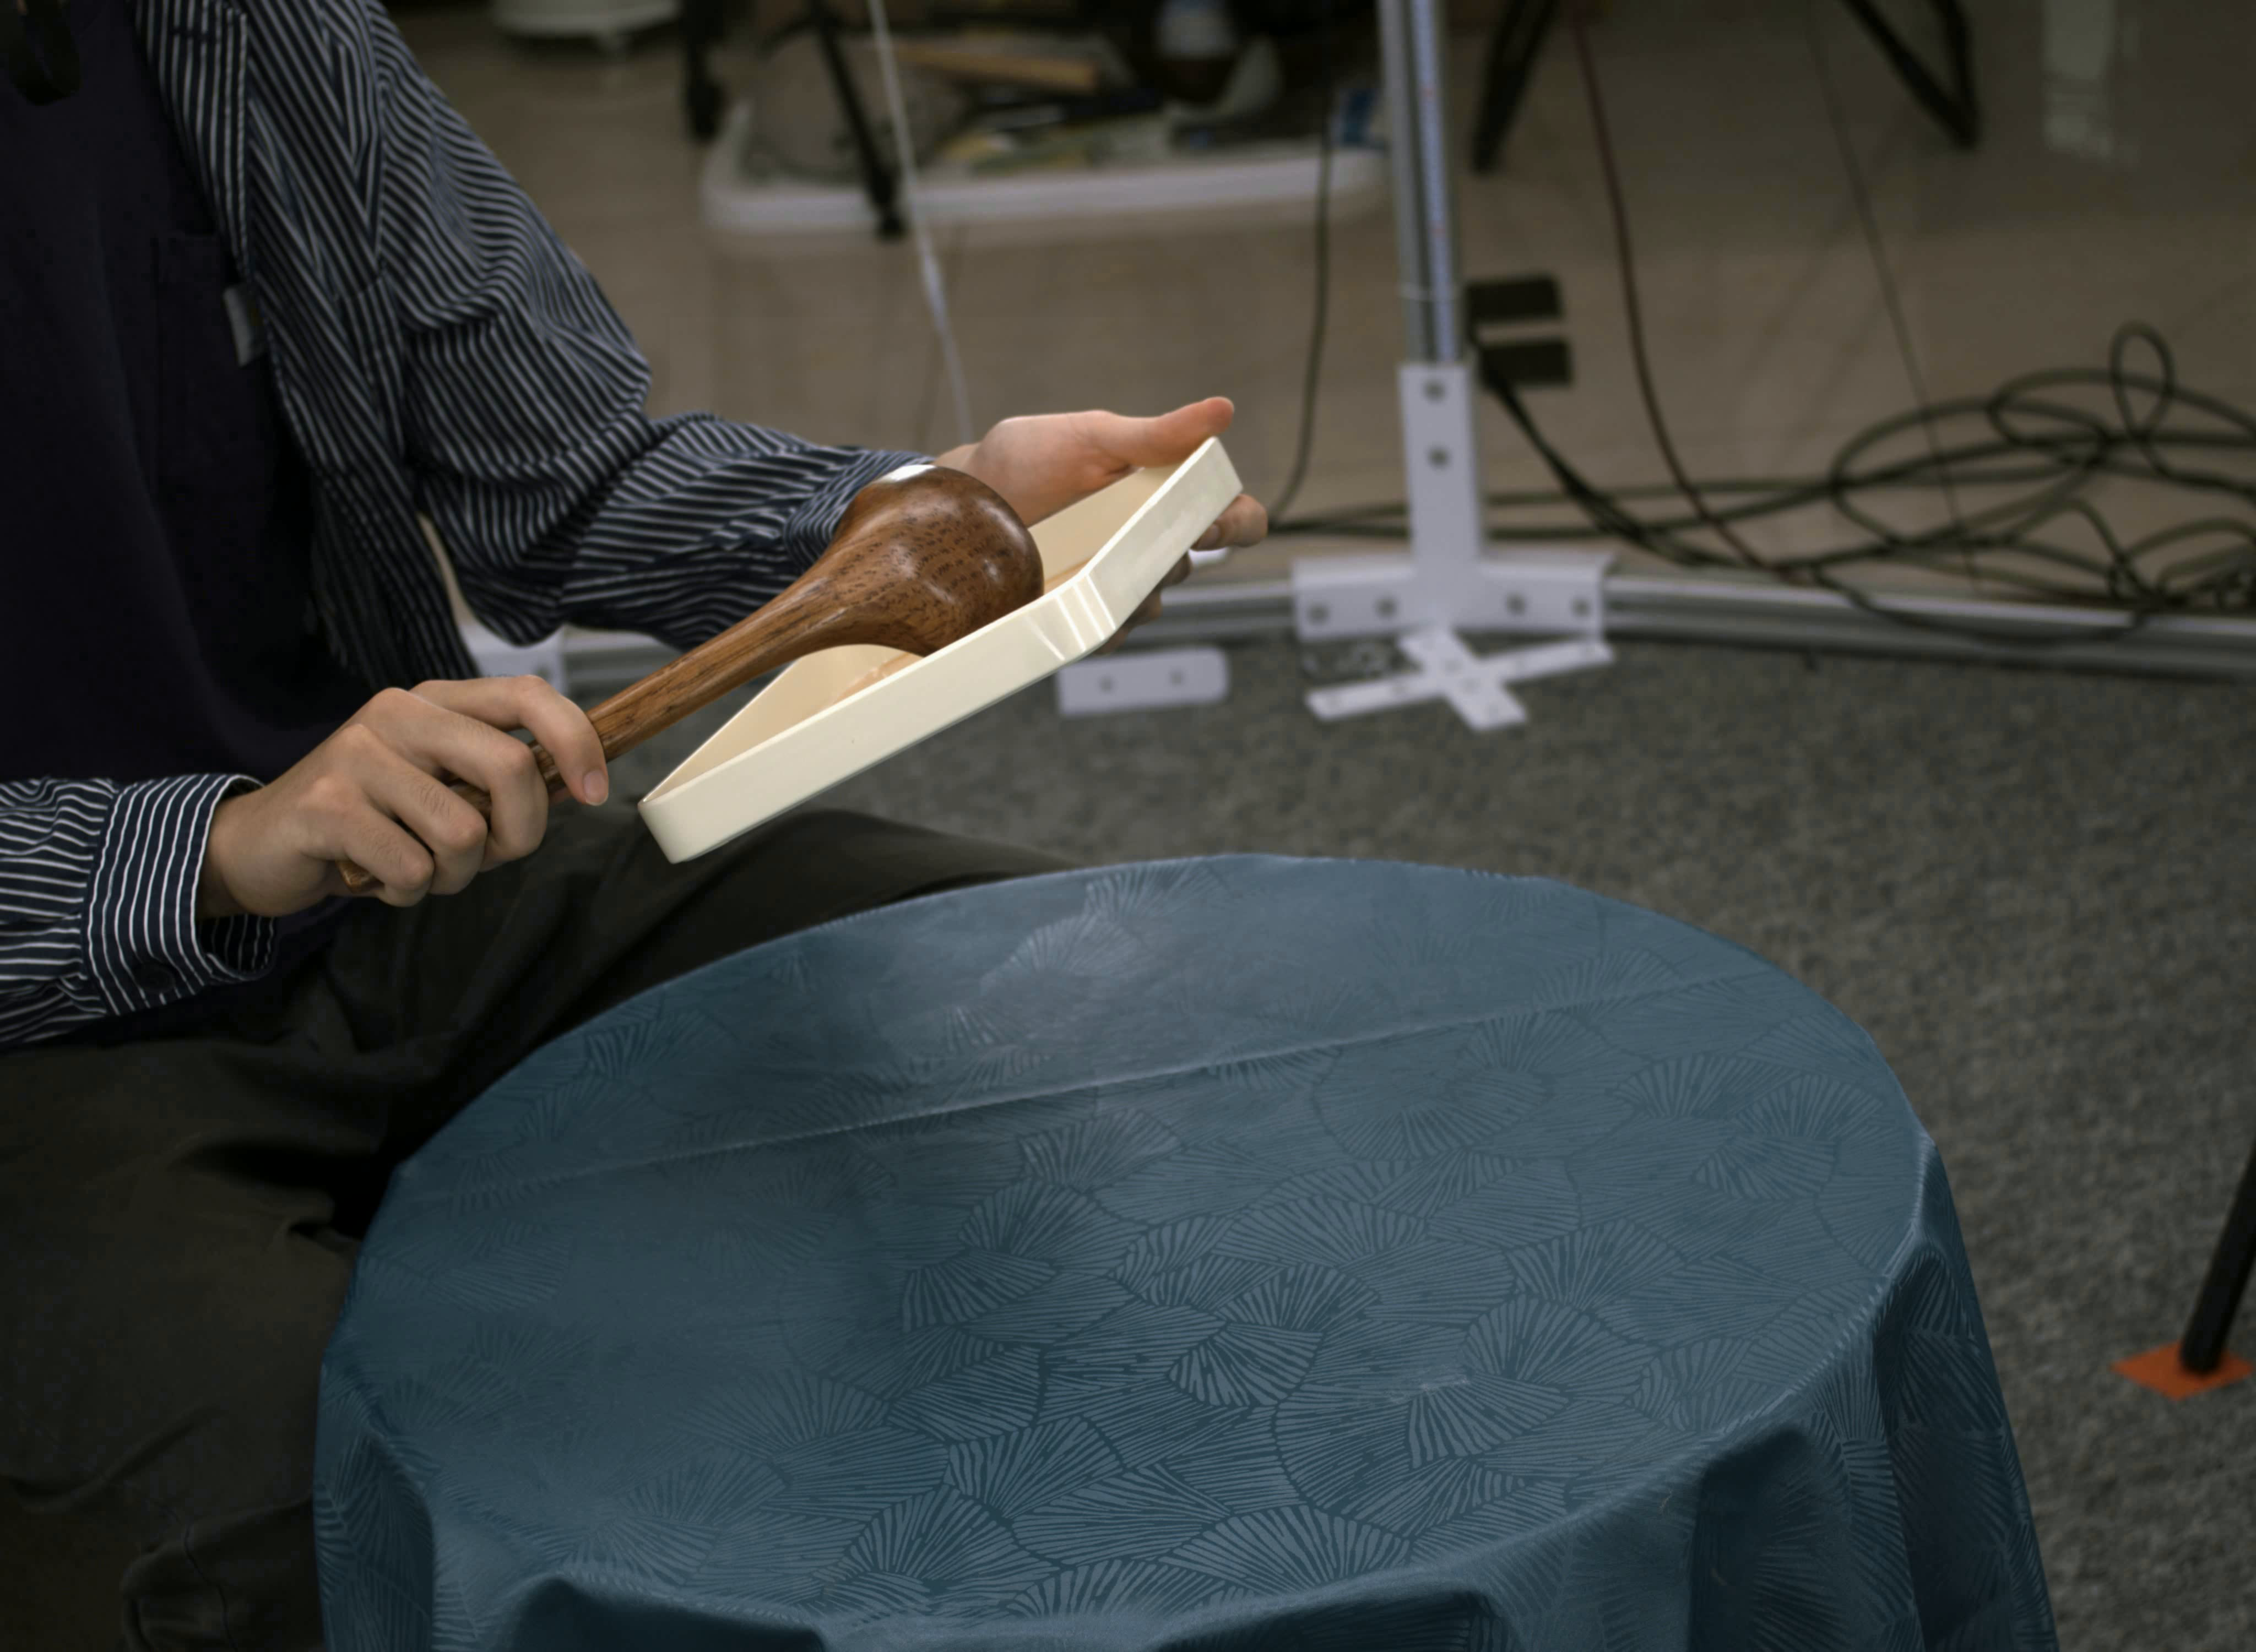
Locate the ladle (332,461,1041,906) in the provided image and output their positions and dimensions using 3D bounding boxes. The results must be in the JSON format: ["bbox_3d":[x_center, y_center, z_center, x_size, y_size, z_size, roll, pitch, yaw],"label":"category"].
[{"bbox_3d":[-0.158,-0.044,2.043,0.274,0.077,0.081,-30,71,5],"label":"ladle"}]

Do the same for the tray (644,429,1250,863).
[{"bbox_3d":[-0.063,-0.072,2.144,0.192,0.027,0.297,-27,8,18],"label":"tray"}]
